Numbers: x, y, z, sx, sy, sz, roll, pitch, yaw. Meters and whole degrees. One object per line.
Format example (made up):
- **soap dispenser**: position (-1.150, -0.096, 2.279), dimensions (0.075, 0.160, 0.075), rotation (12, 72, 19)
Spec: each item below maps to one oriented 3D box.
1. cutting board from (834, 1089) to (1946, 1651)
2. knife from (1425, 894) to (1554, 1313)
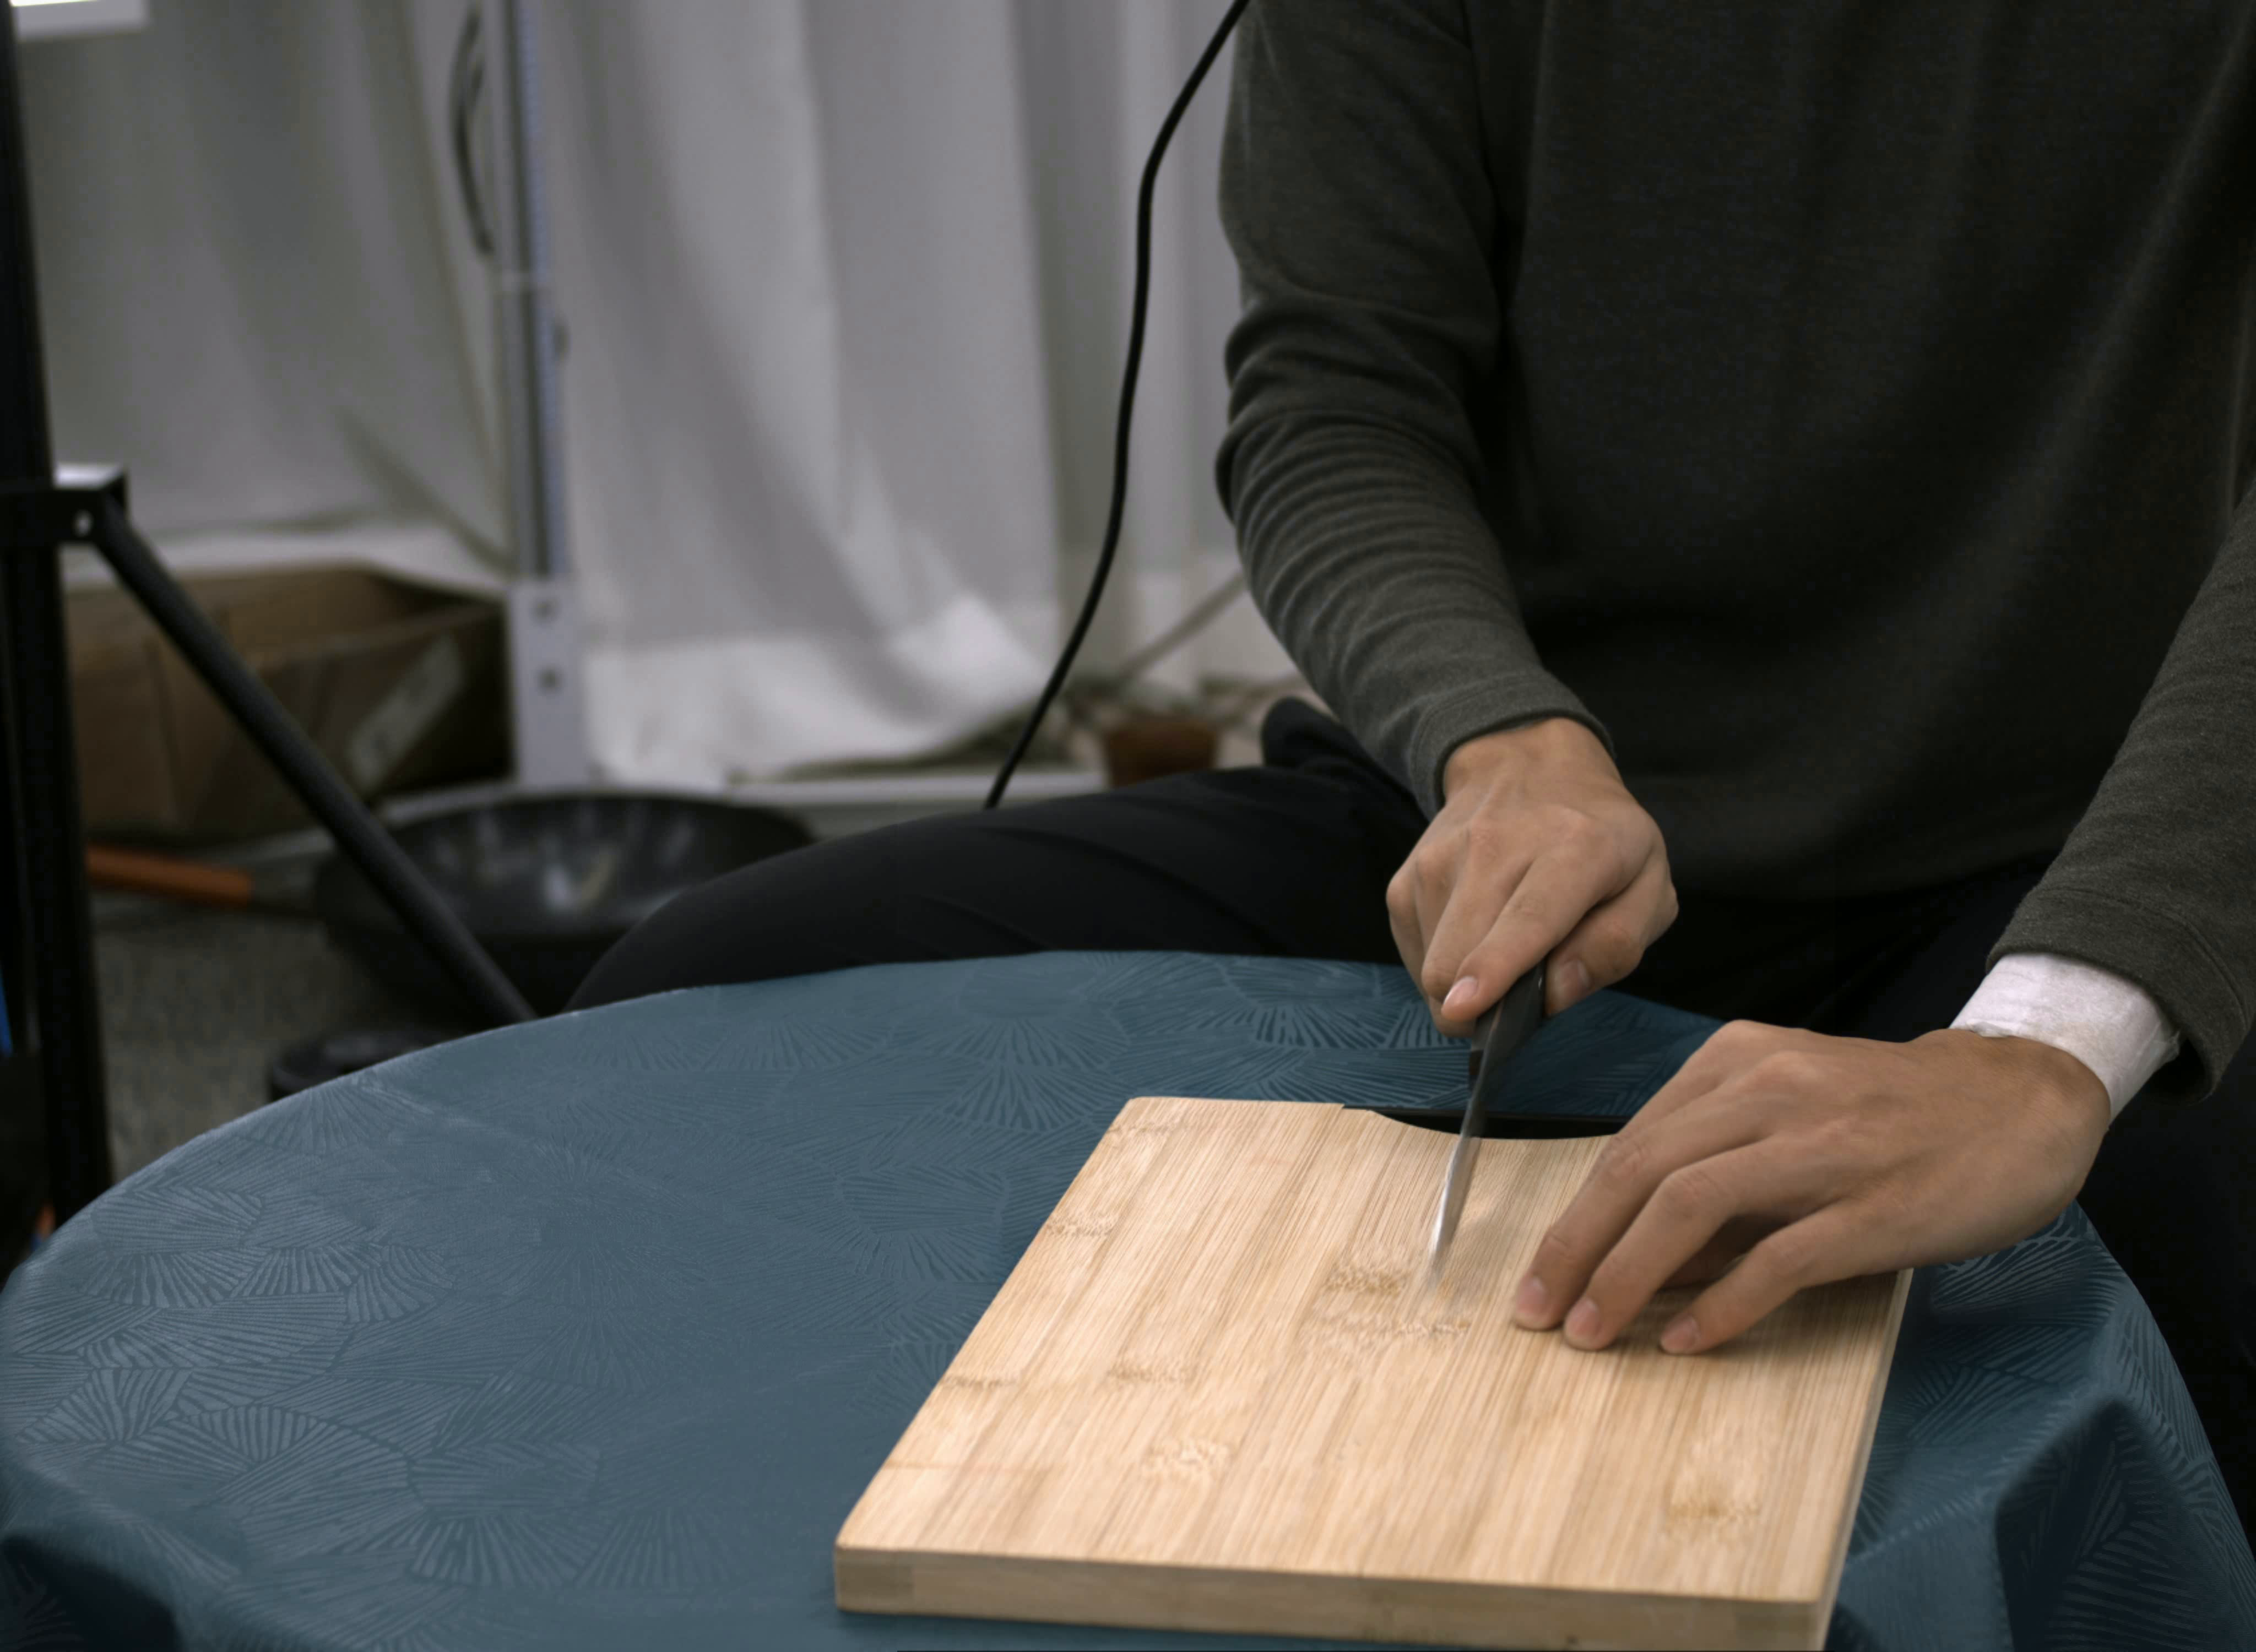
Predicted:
- **cutting board**: position (0.083, 0.139, 1.411), dimensions (0.252, 0.023, 0.346), rotation (2, 16, 12)
- **knife**: position (0.102, 0.075, 1.508), dimensions (0.016, 0.024, 0.237), rotation (6, 26, 9)
